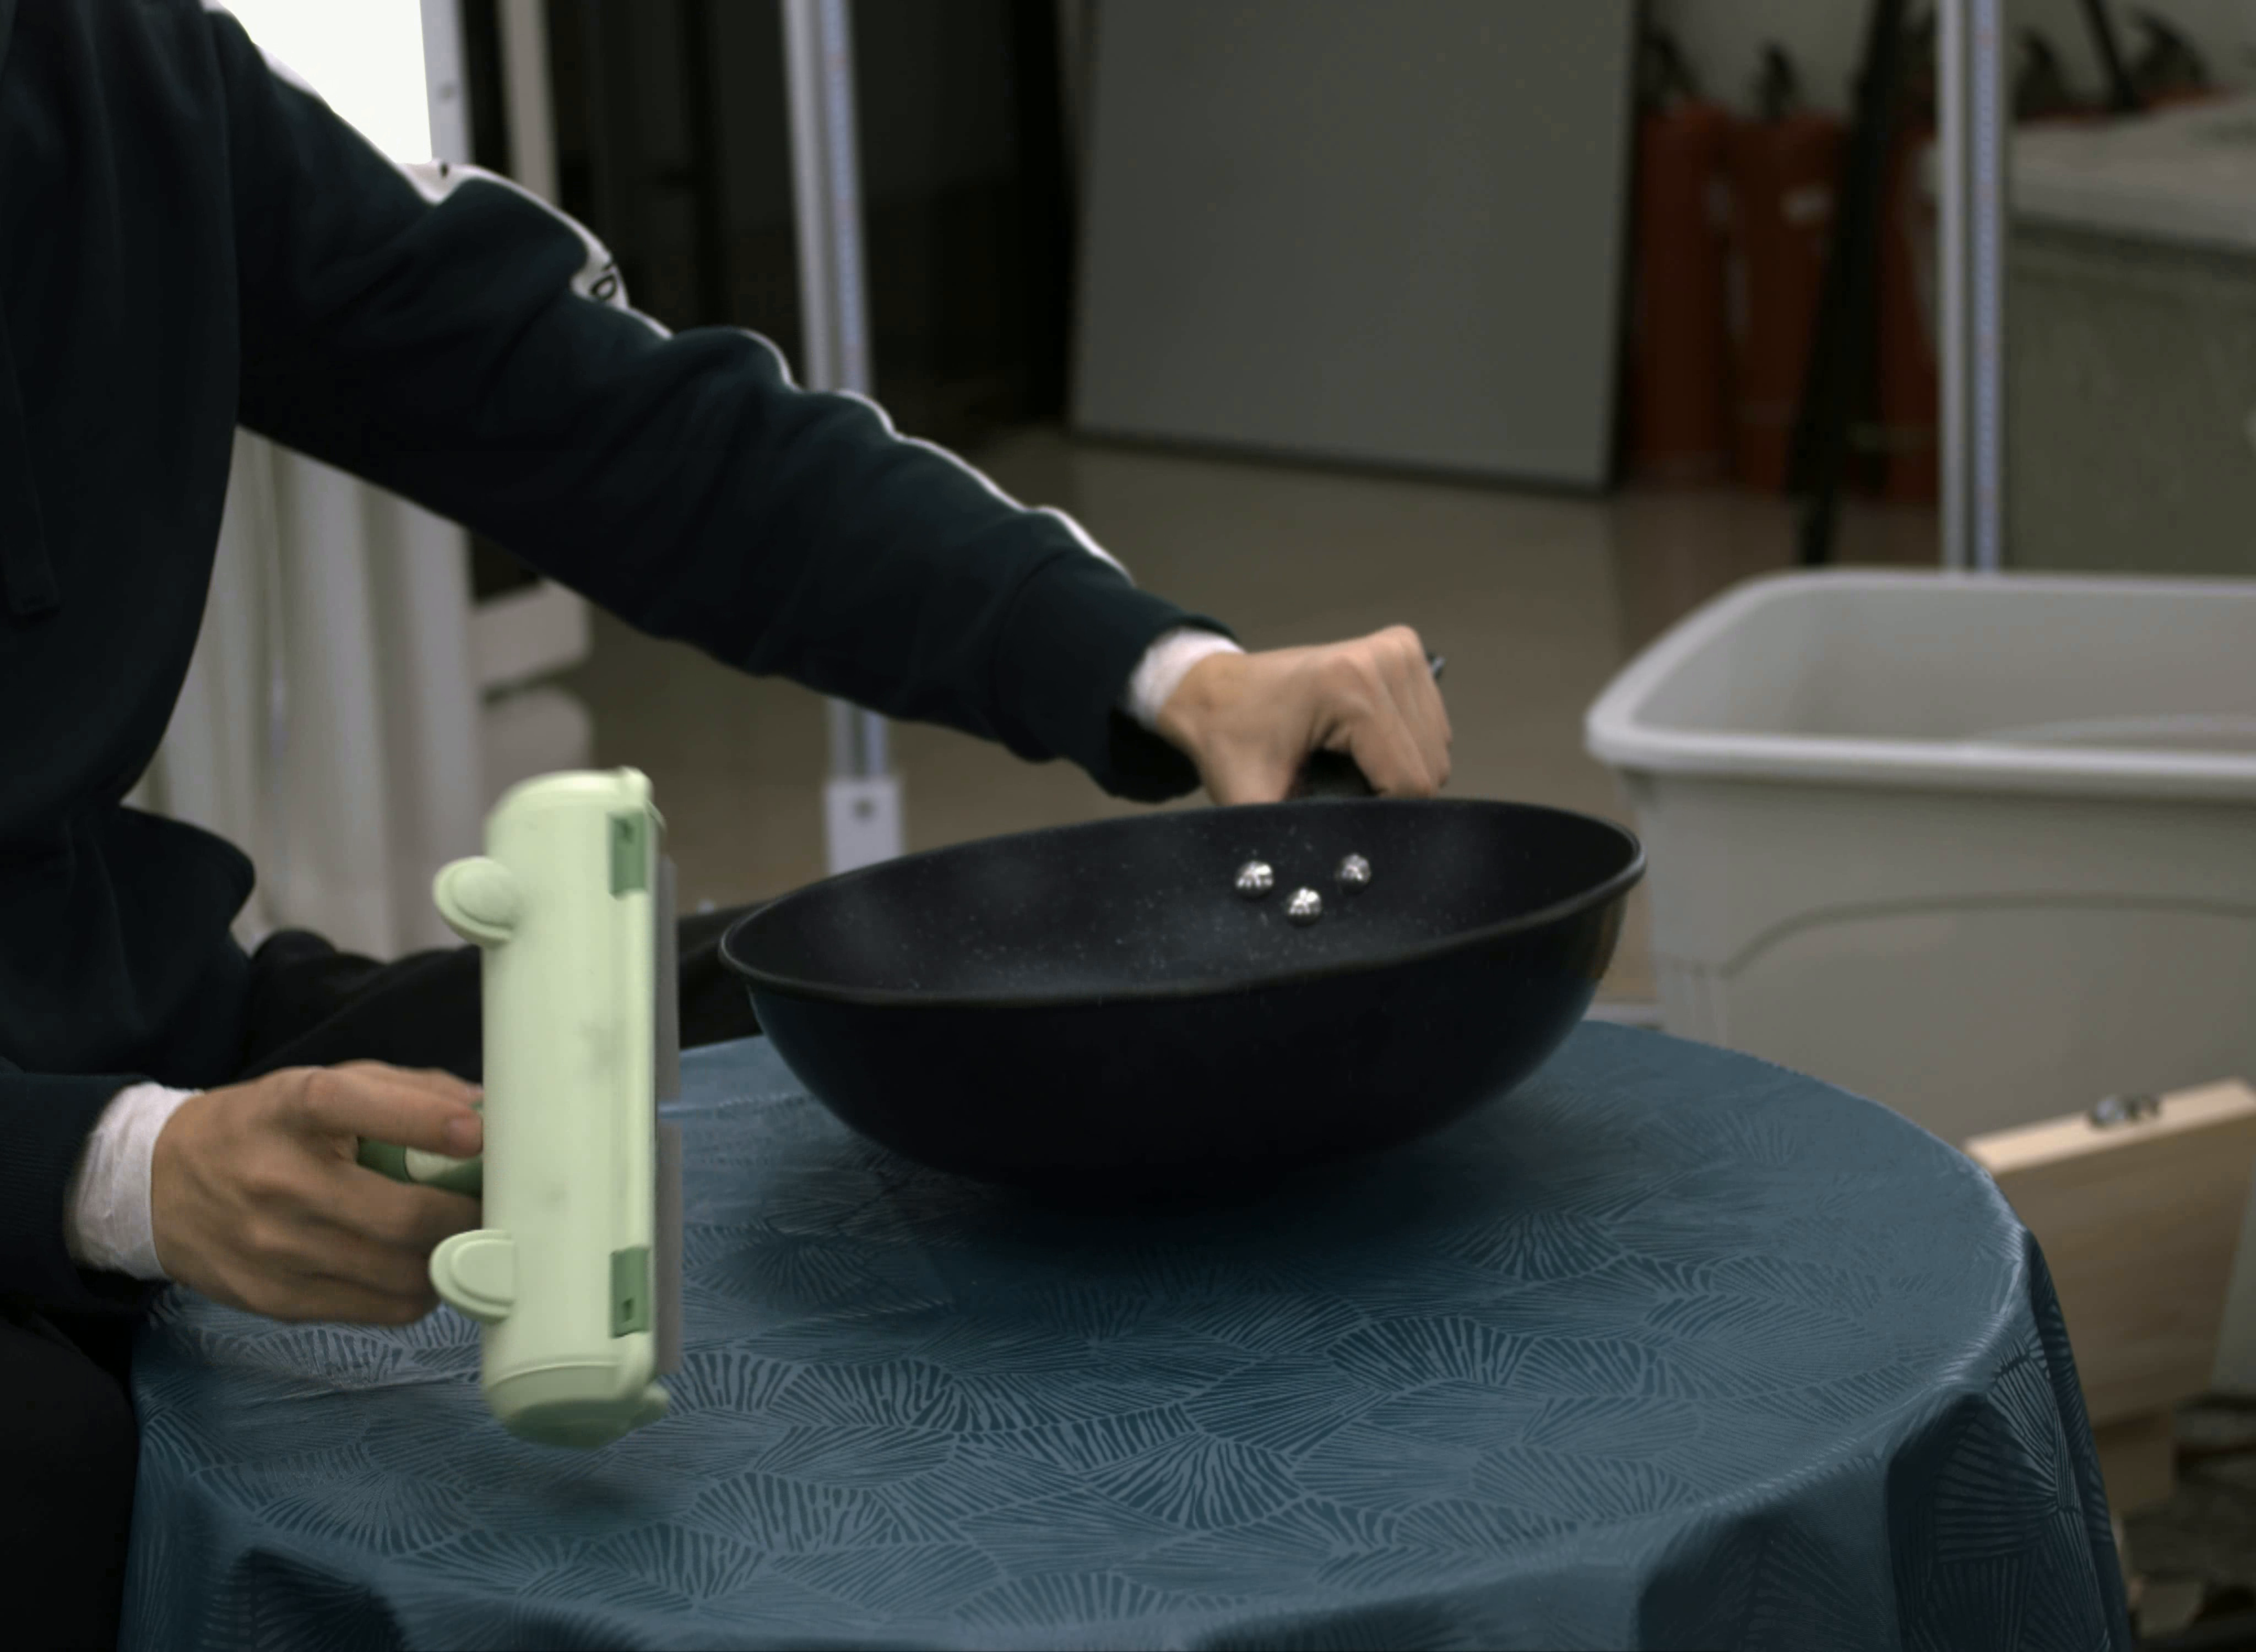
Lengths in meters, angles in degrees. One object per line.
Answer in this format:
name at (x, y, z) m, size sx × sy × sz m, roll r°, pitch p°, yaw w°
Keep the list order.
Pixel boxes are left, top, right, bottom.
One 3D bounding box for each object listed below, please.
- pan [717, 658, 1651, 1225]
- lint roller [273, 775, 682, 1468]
pan at (0.045, 0.040, 1.847) m, size 0.309 × 0.113 × 0.472 m, roll -2°, pitch 11°, yaw 19°
lint roller at (-0.206, 0.096, 1.587) m, size 0.184 × 0.201 × 0.081 m, roll -20°, pitch -33°, yaw 34°
